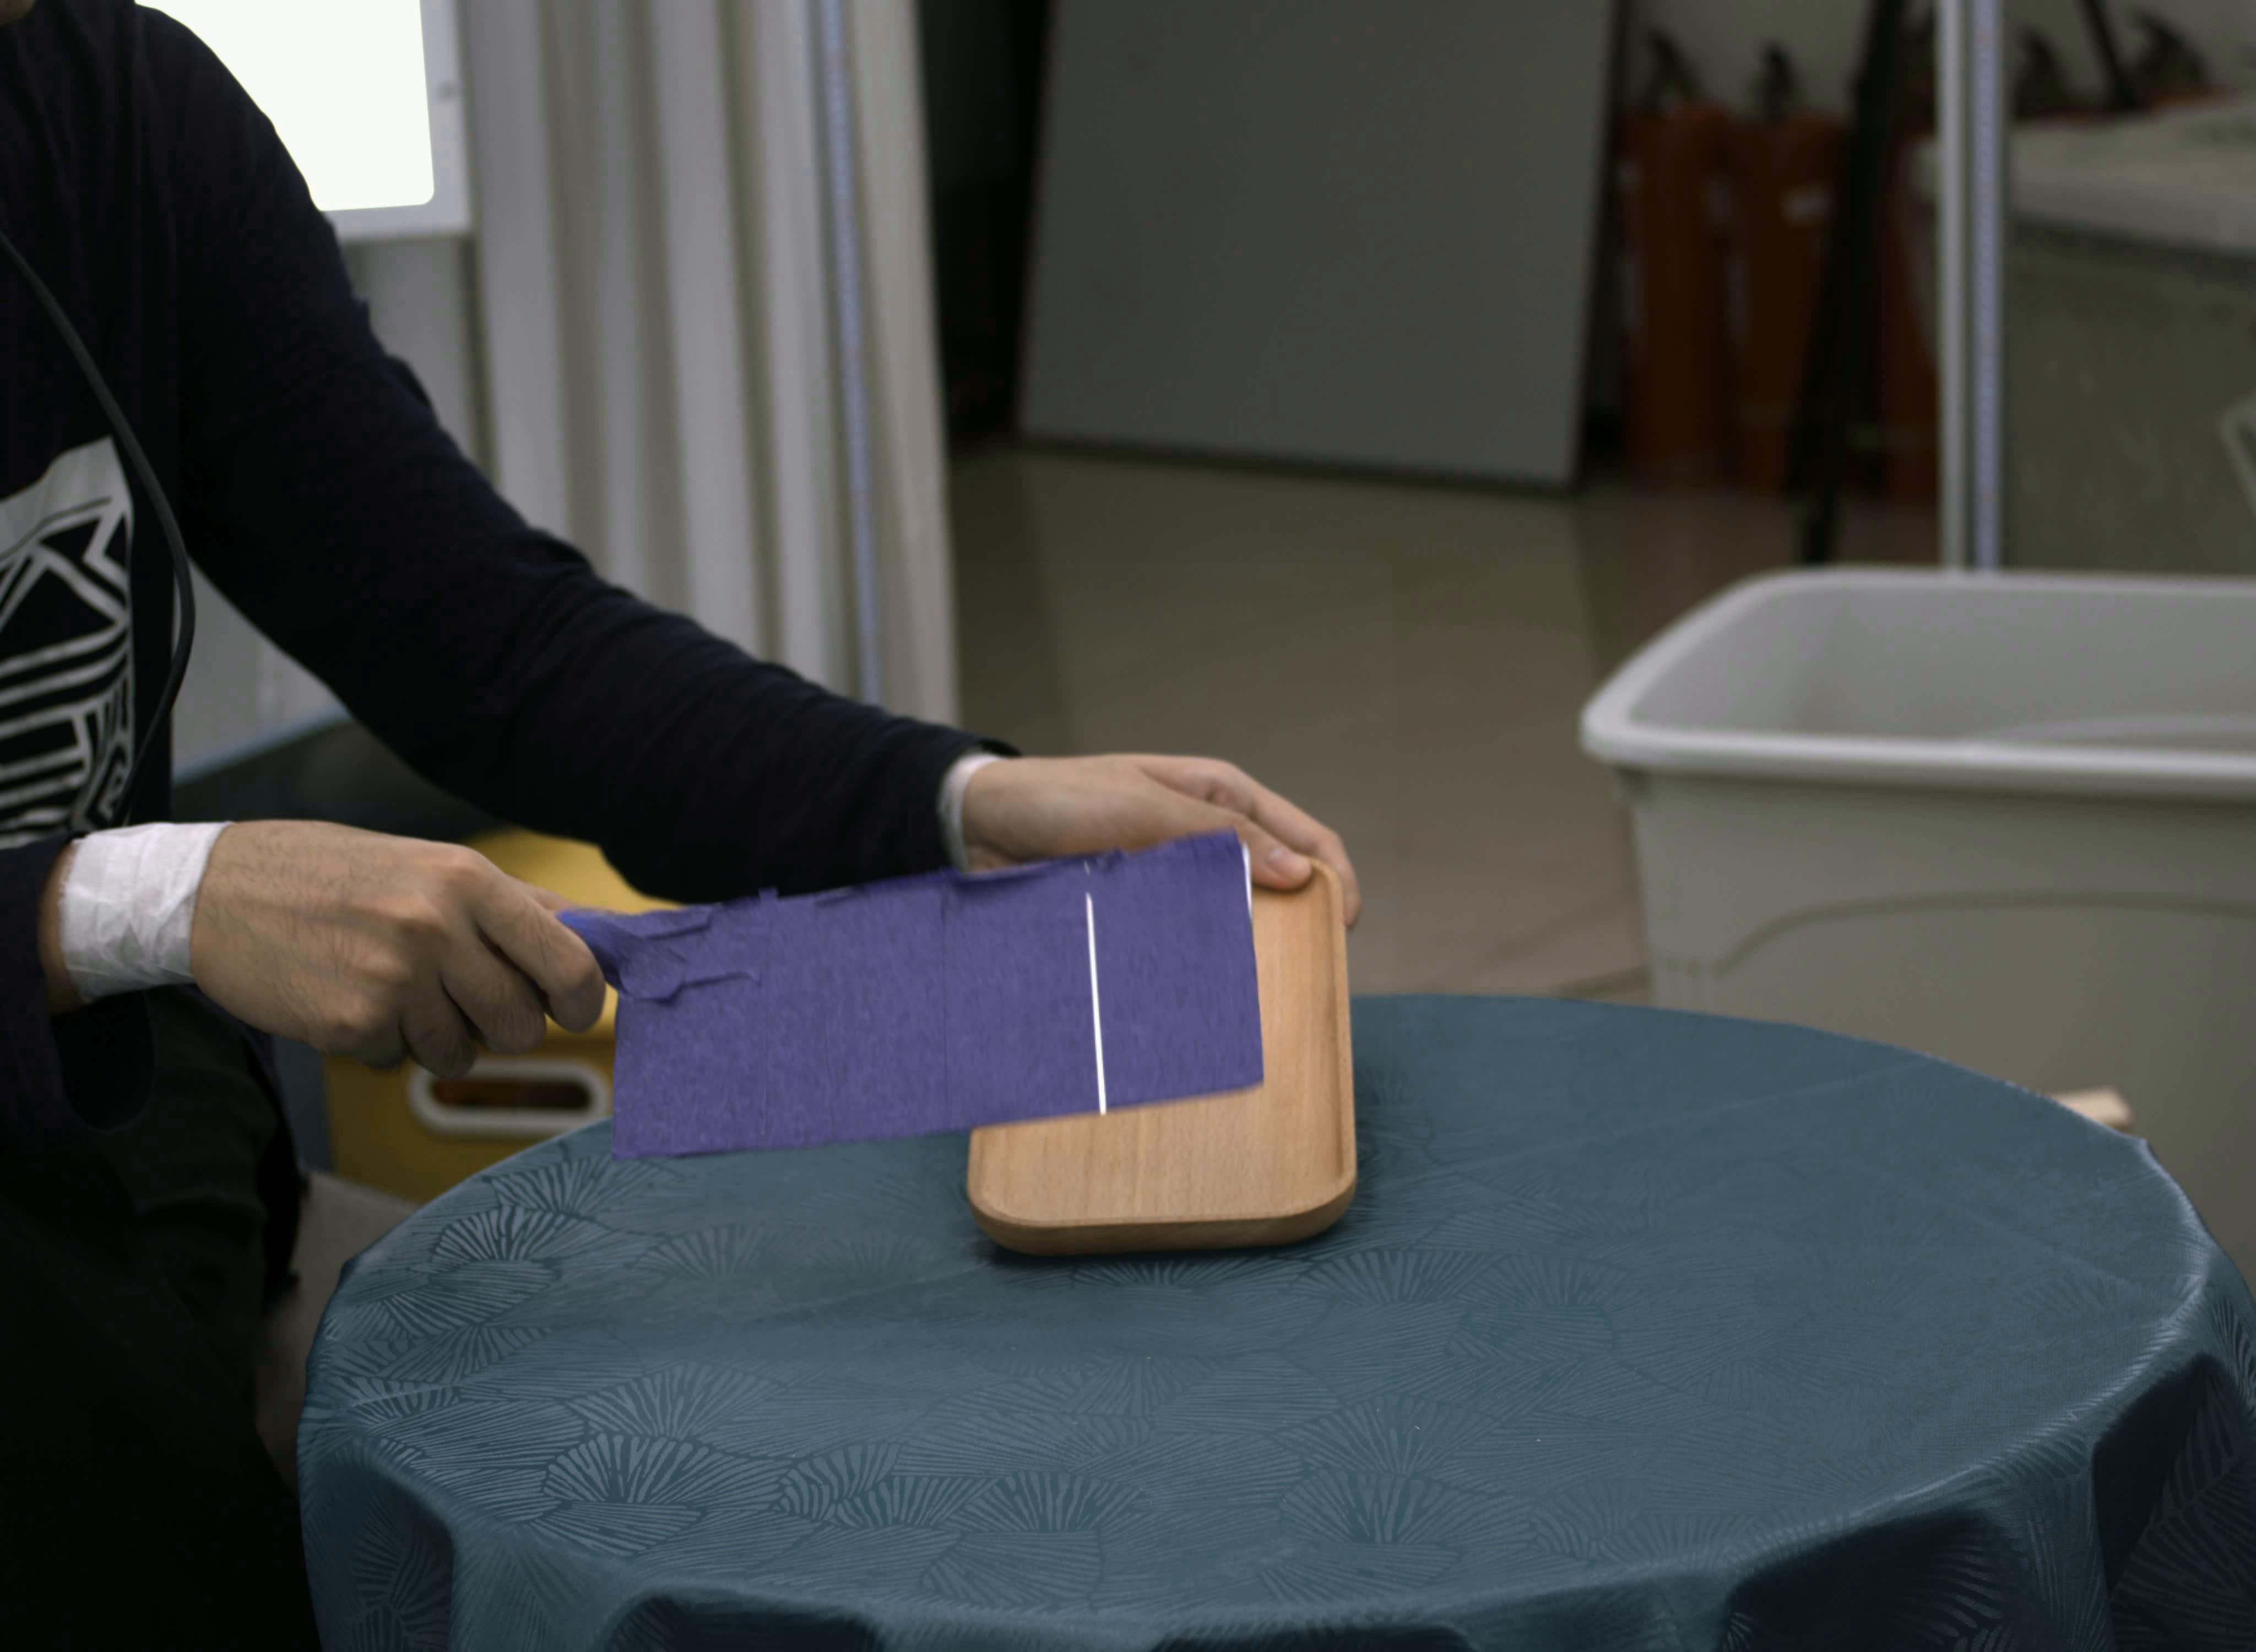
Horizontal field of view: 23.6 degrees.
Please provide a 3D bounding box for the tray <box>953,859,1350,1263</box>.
[{"bbox_3d":[0.012,0.076,1.812,0.129,0.023,0.251,-4,28,6],"label":"tray"}]

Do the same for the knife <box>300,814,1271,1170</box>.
[{"bbox_3d":[-0.109,0.059,1.674,0.313,0.032,0.105,-9,55,13],"label":"knife"}]
